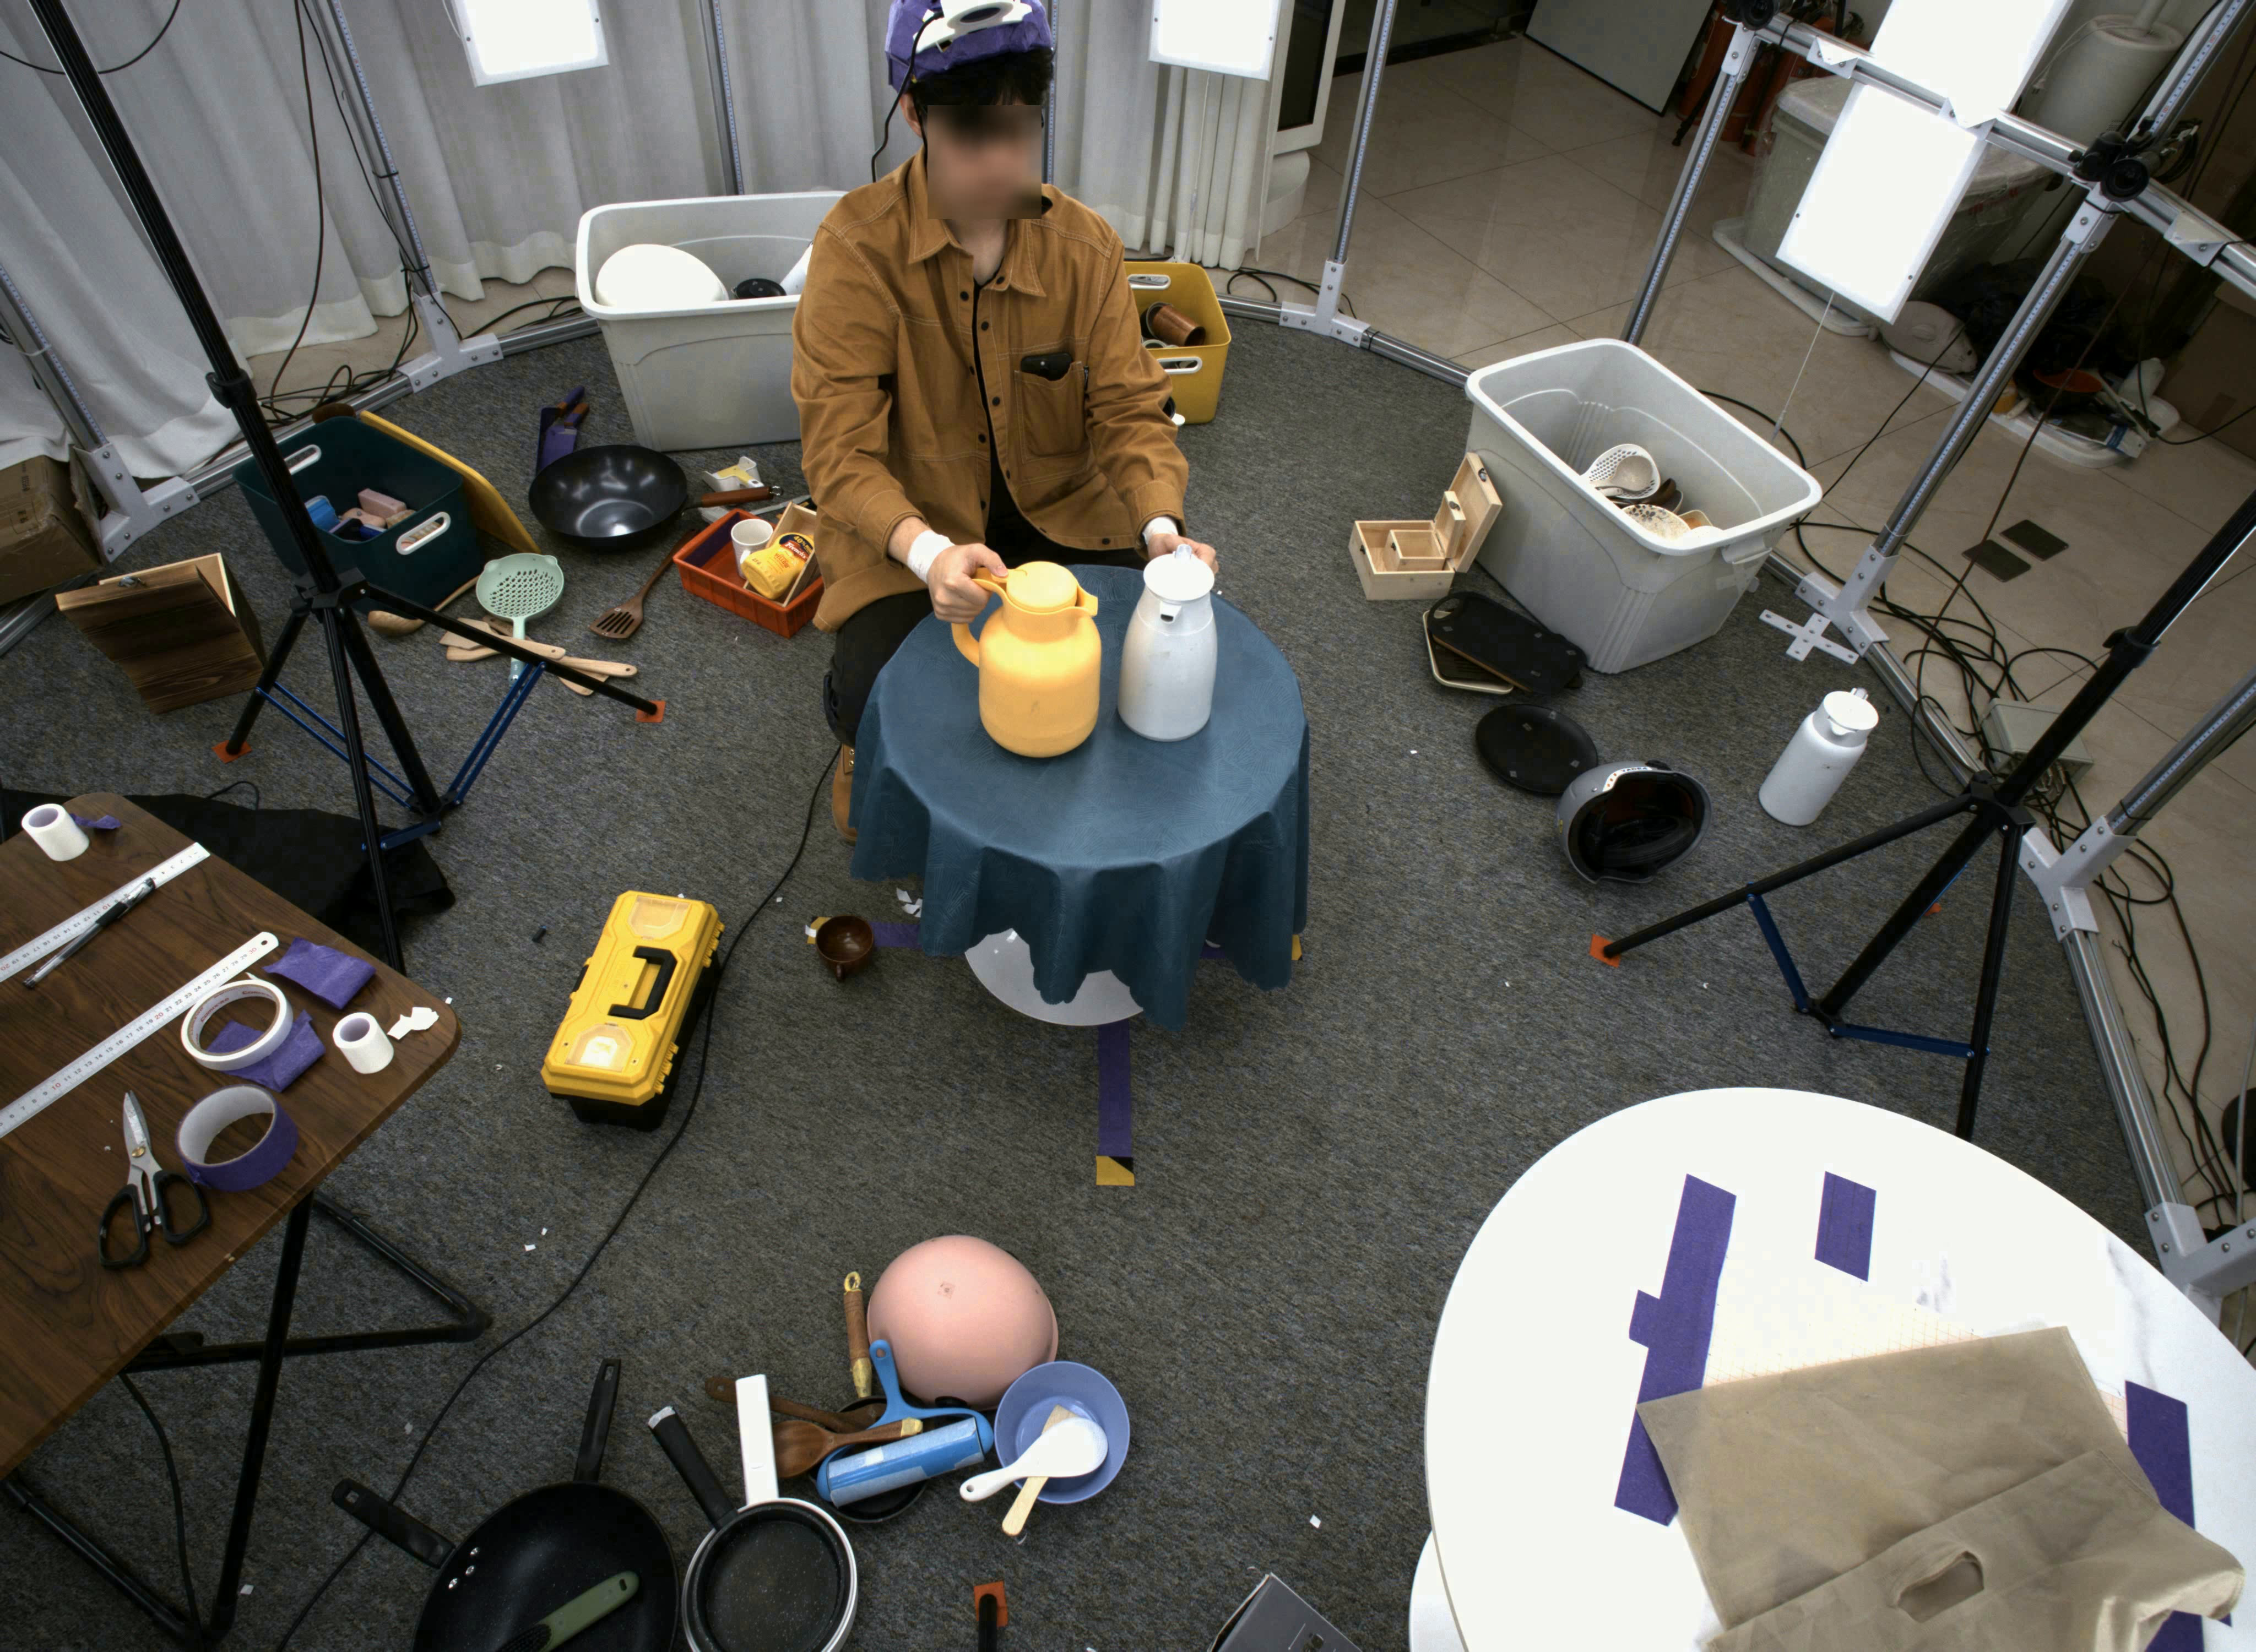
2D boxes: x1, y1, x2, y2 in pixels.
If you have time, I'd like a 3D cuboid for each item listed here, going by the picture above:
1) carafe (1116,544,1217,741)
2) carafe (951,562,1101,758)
[{"bbox_3d":[0.060,-0.260,1.738,0.133,0.242,0.171,12,49,6],"label":"carafe"},{"bbox_3d":[-0.134,-0.230,1.693,0.203,0.254,0.166,20,49,11],"label":"carafe"}]
